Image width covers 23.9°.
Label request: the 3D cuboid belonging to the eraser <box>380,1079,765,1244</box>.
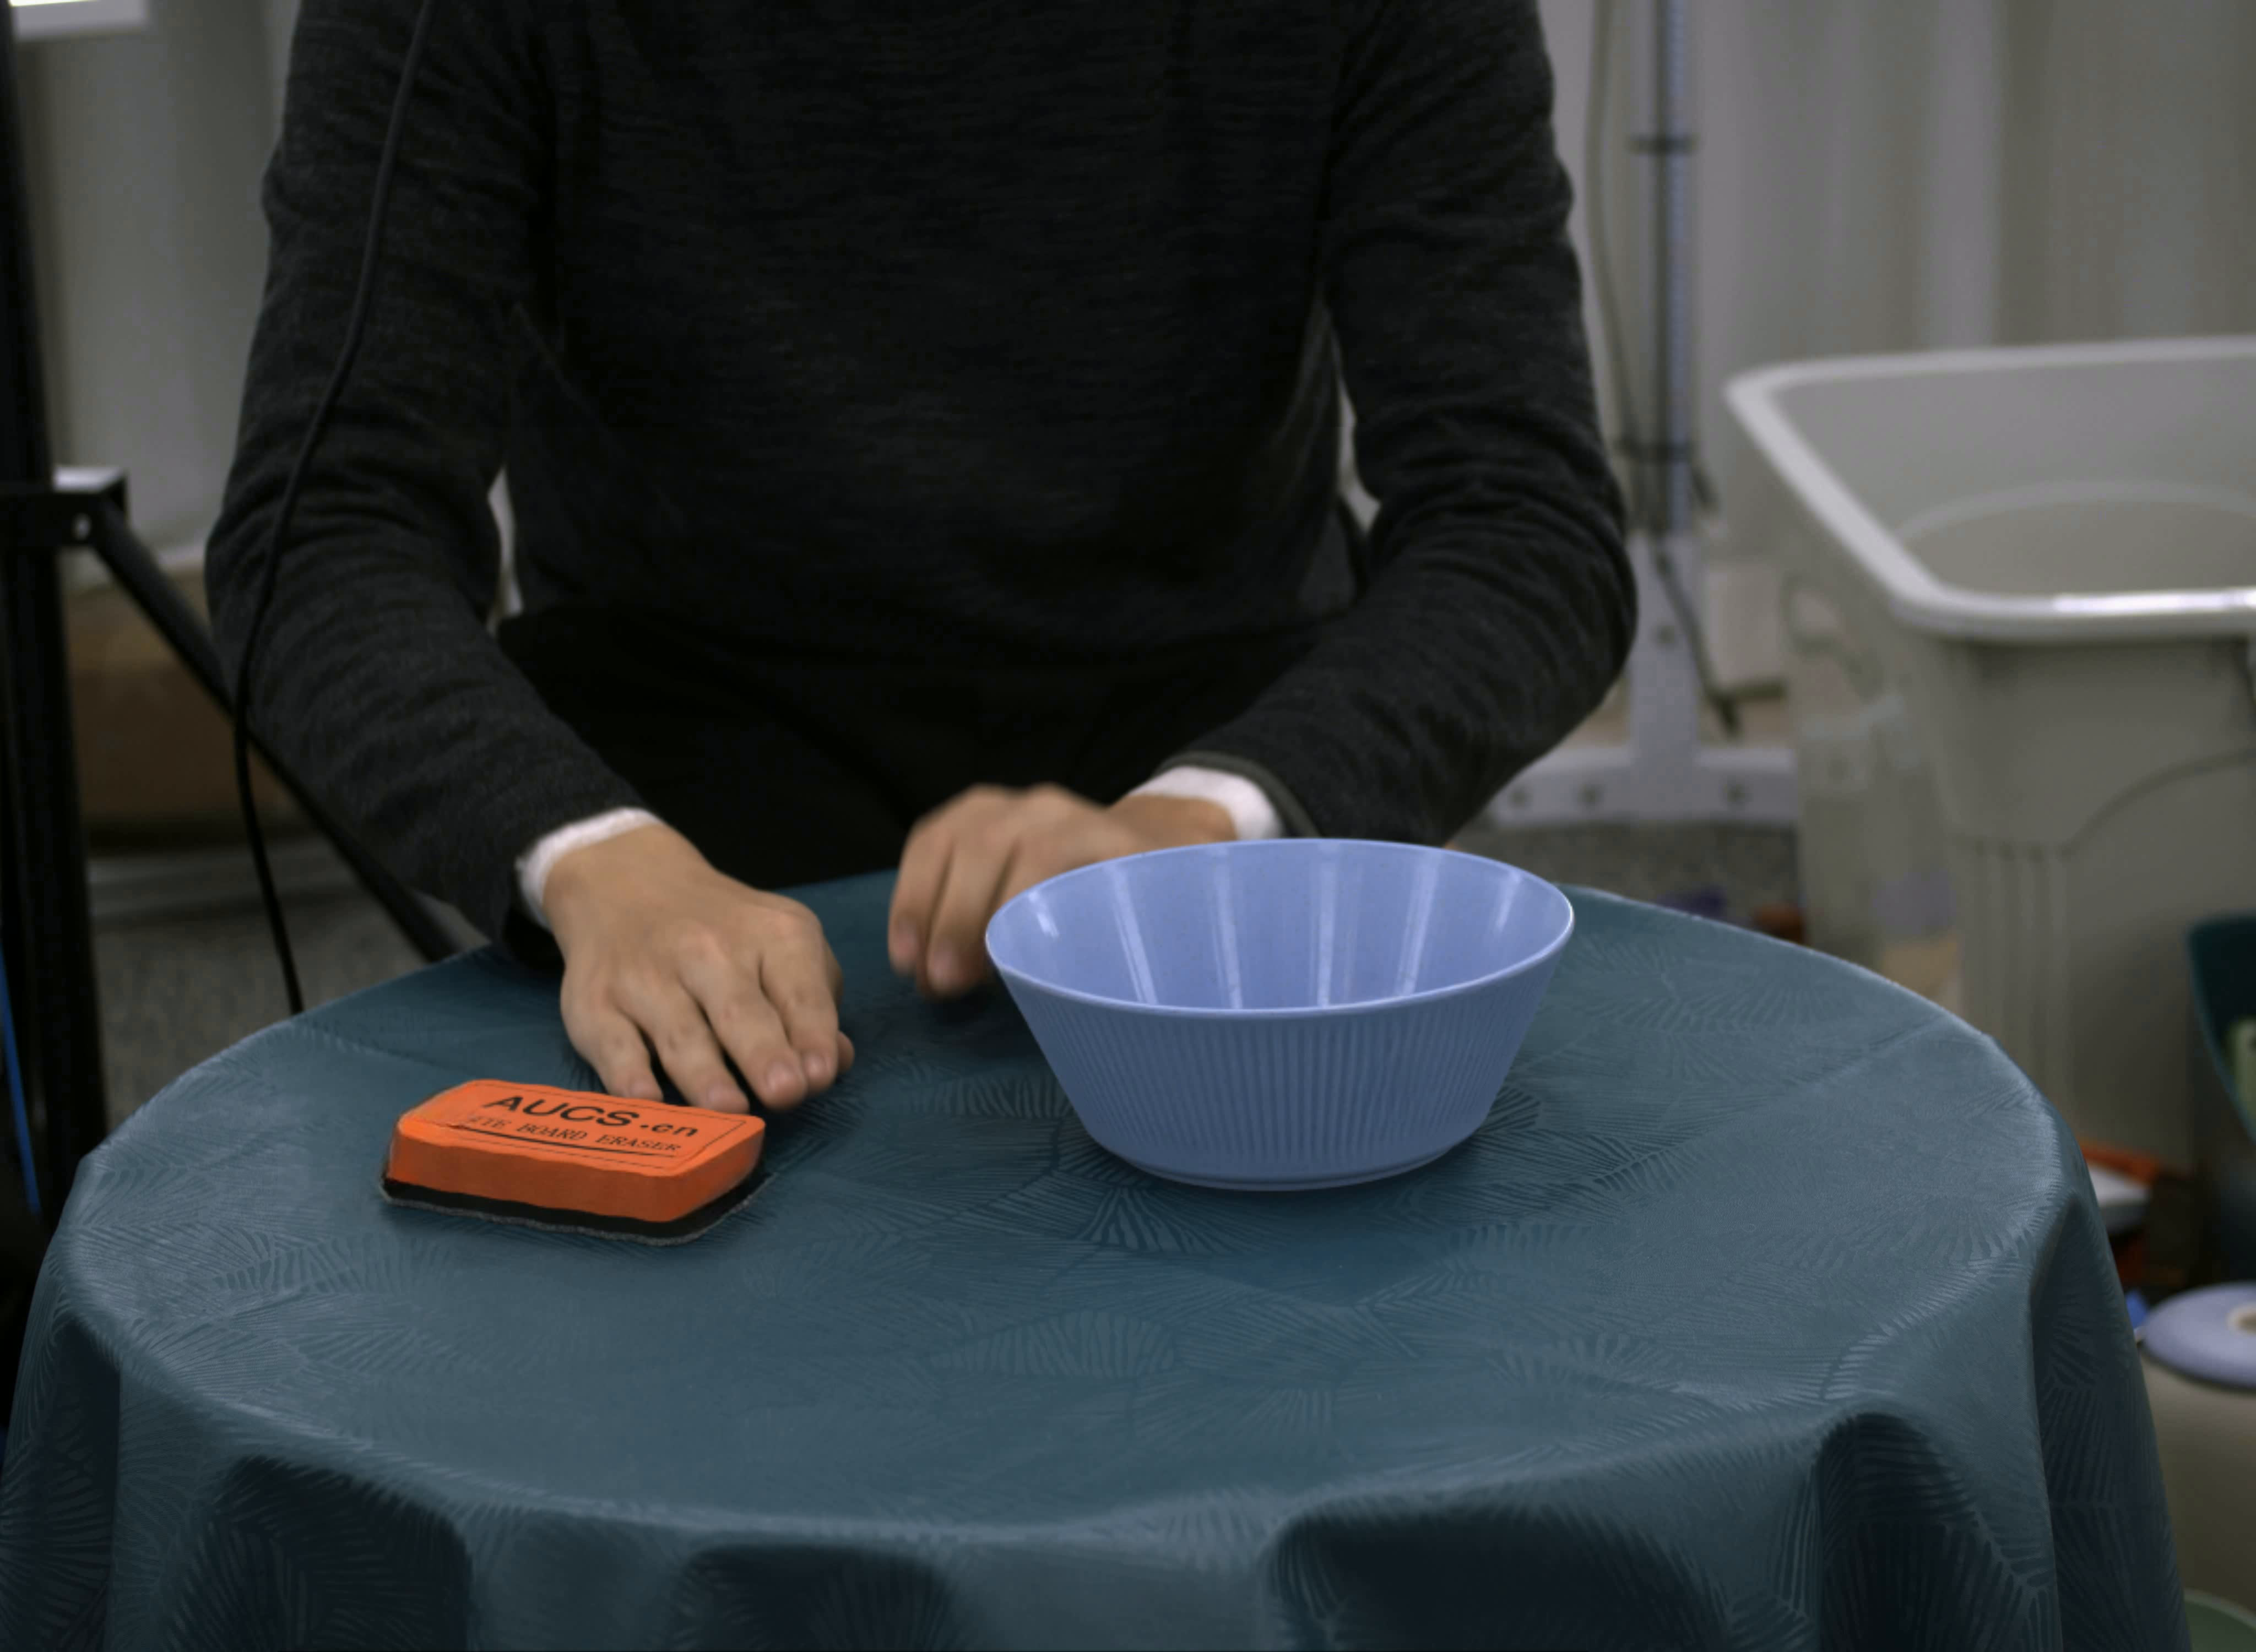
[{"bbox_3d":[-0.164,0.099,1.574,0.110,0.023,0.058,6,19,29],"label":"eraser"}]

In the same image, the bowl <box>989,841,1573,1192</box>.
[{"bbox_3d":[0.047,0.060,1.595,0.175,0.070,0.177,-3,16,-1],"label":"bowl"}]
